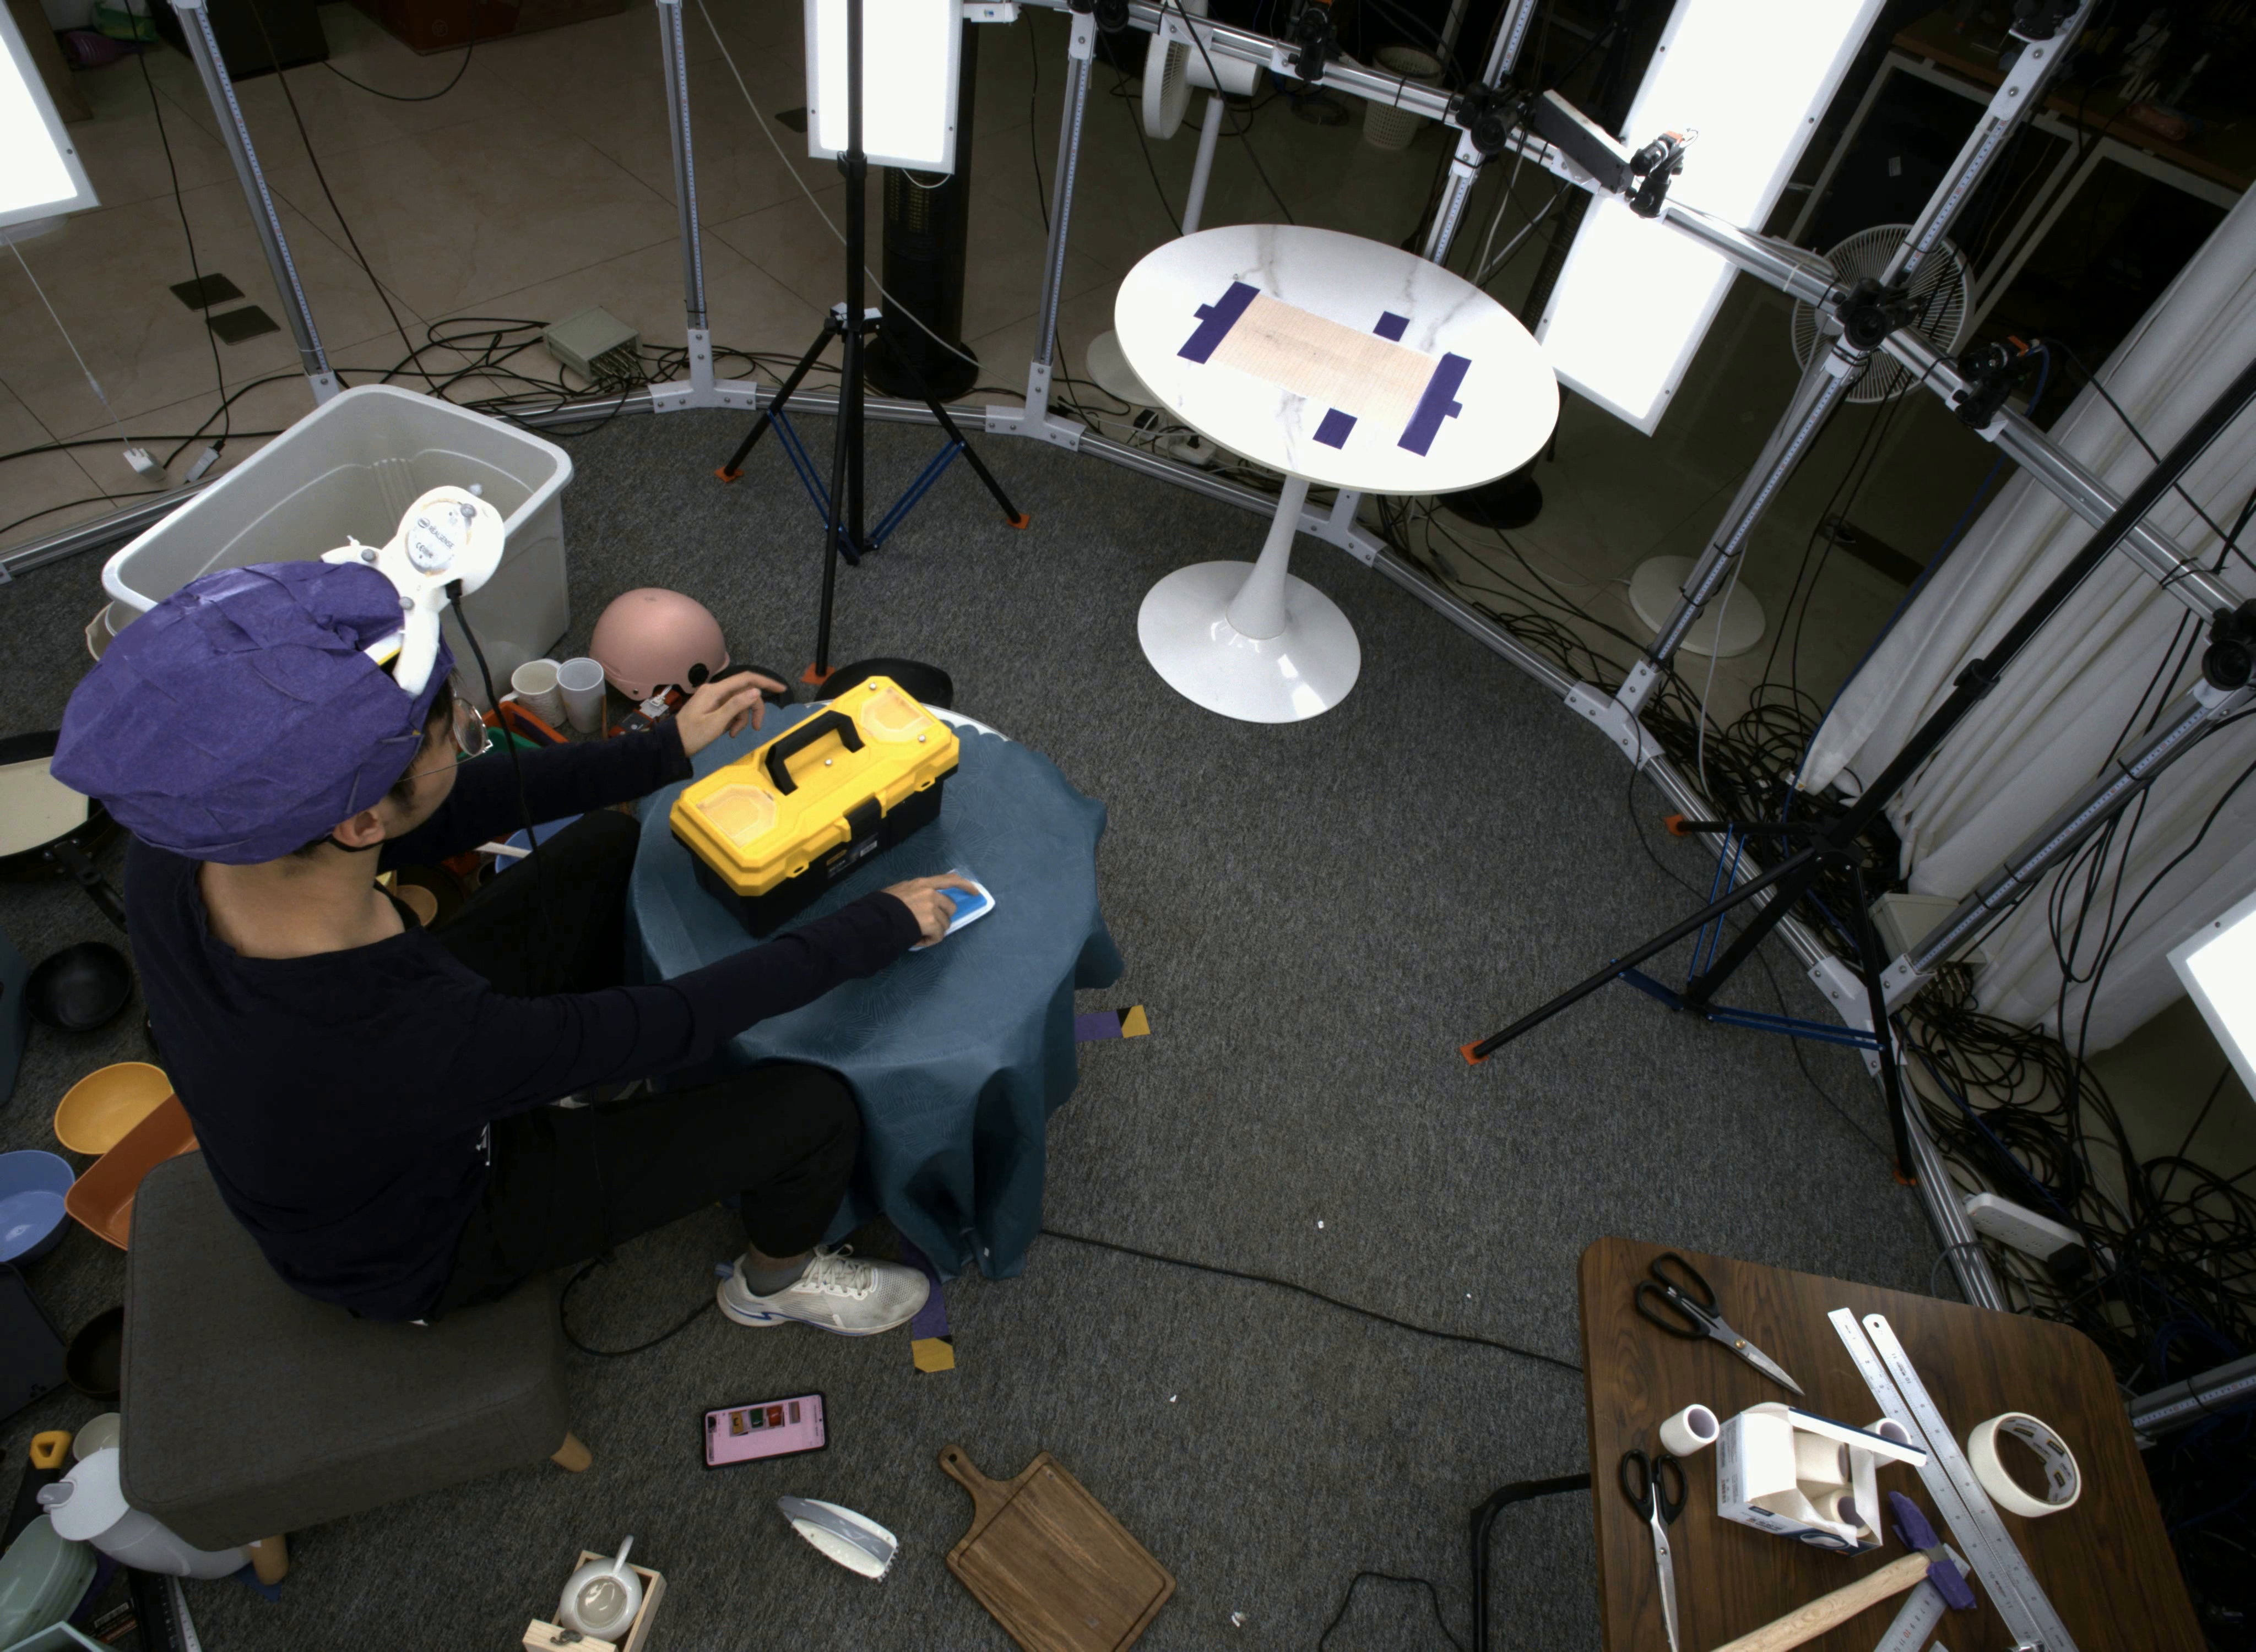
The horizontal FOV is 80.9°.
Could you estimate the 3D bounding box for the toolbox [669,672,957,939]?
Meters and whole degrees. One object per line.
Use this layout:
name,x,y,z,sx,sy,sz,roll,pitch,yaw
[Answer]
toolbox,-0.388,-0.026,1.641,0.177,0.176,0.352,39,55,18

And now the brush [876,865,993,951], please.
brush,-0.246,0.096,1.659,0.145,0.057,0.081,-25,60,-31
